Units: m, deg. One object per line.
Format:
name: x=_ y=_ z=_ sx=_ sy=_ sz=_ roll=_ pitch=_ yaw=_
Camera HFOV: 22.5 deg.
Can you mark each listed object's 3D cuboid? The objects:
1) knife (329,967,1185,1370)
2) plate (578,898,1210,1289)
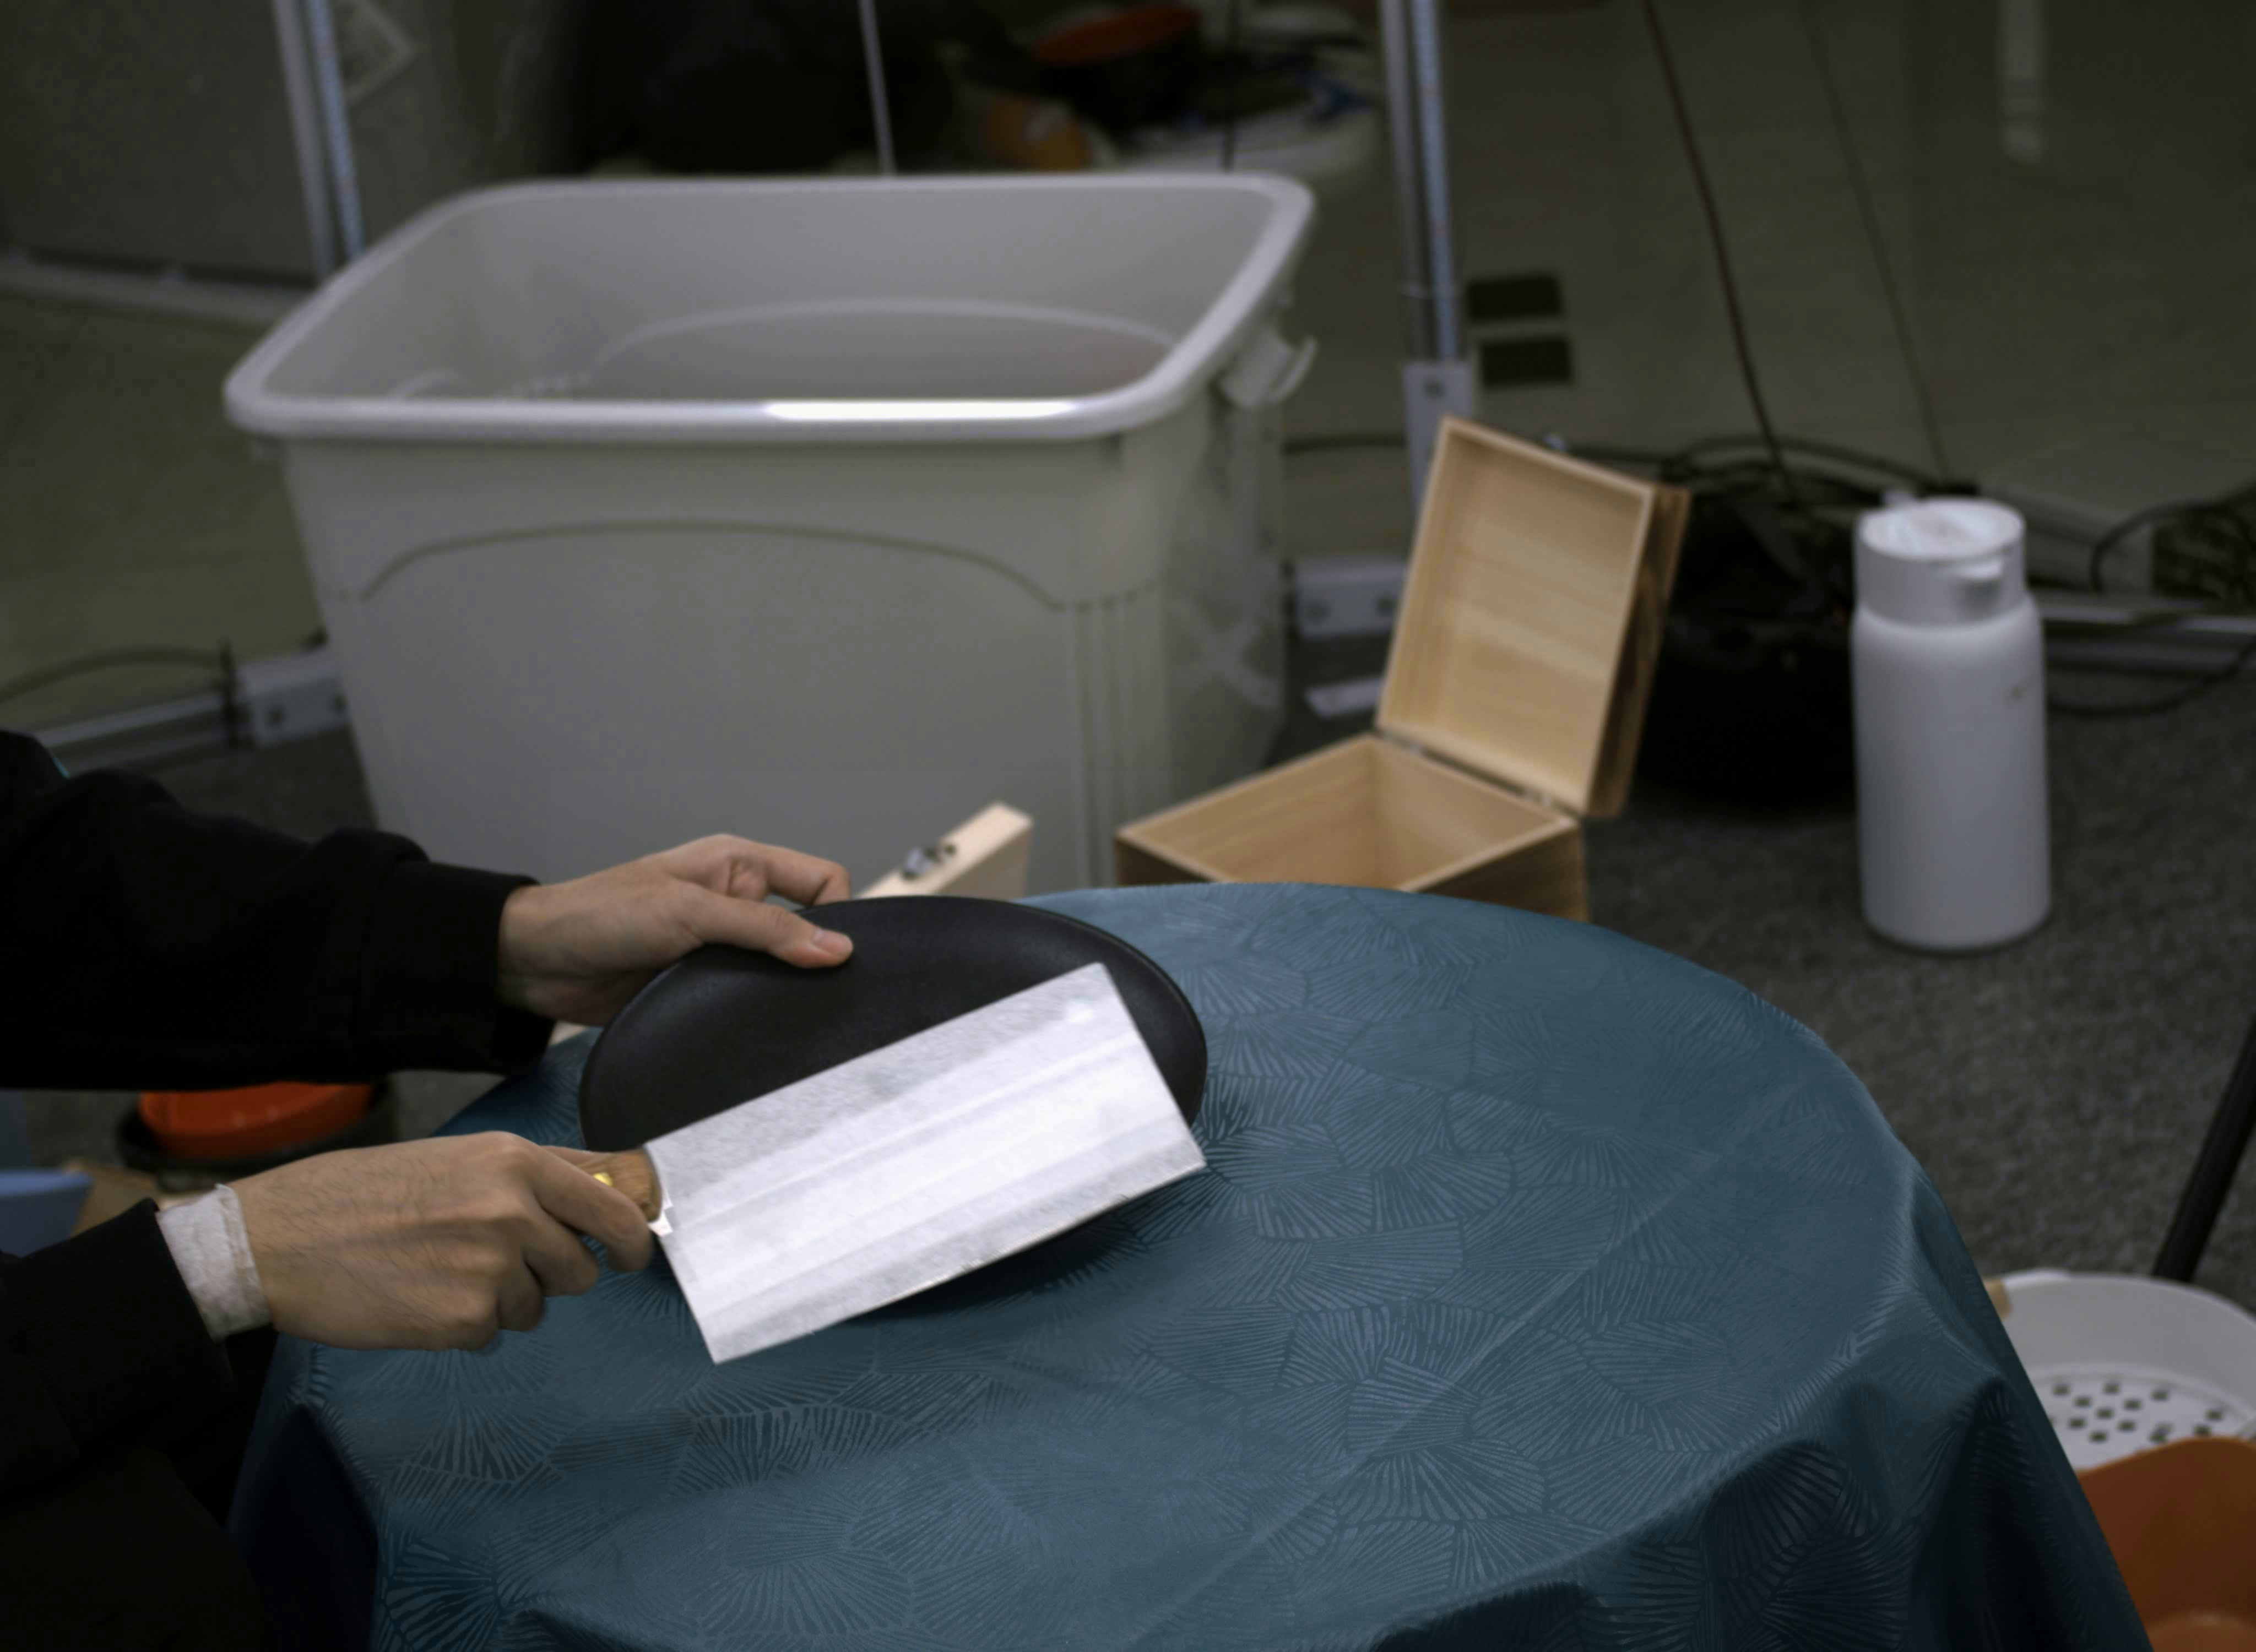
knife: x=-0.126 y=0.139 z=1.998 sx=0.304 sy=0.021 sz=0.092 roll=-22 pitch=67 yaw=-11
plate: x=-0.089 y=0.106 z=2.175 sx=0.244 sy=0.024 sz=0.240 roll=-3 pitch=35 yaw=2
